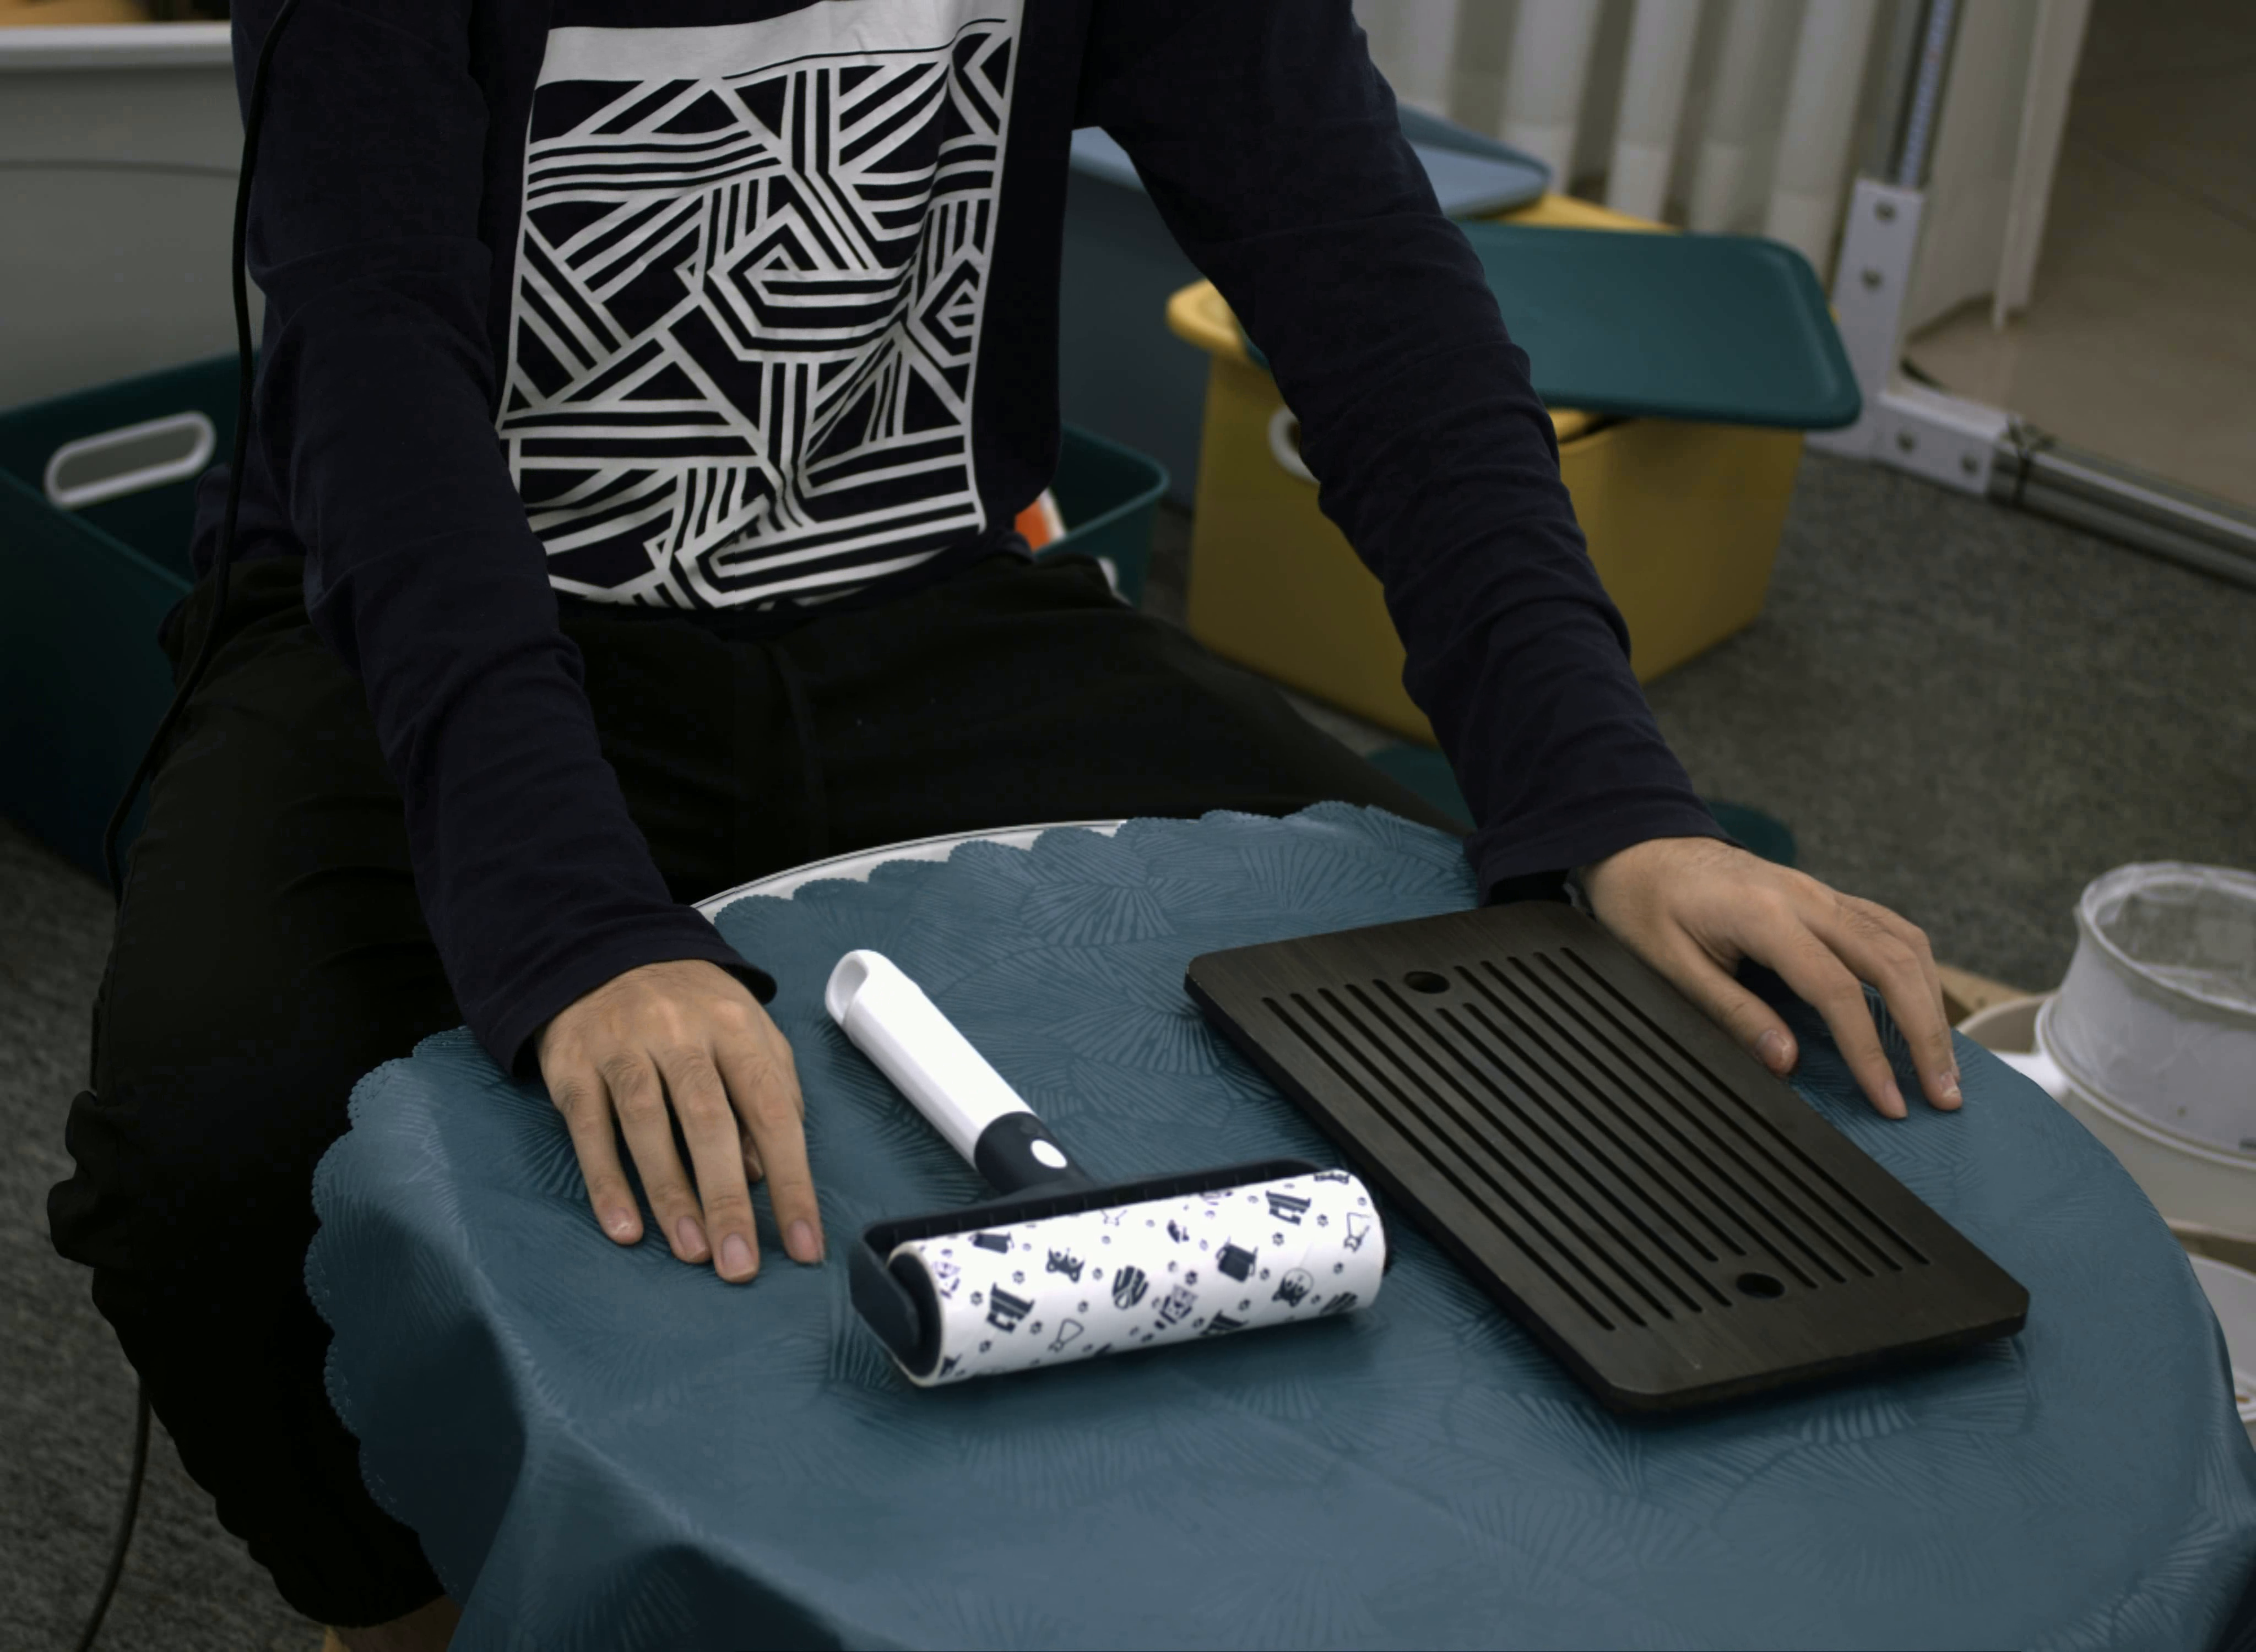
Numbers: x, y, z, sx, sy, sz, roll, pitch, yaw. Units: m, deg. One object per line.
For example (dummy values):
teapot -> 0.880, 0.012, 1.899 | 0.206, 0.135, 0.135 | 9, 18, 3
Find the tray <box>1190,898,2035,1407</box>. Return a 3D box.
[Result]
tray -> 0.162, 0.110, 1.849 | 0.169, 0.018, 0.309 | -9, 30, -27

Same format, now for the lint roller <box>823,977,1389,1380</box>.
lint roller -> -0.046, 0.103, 1.792 | 0.175, 0.050, 0.249 | -9, 27, -26
